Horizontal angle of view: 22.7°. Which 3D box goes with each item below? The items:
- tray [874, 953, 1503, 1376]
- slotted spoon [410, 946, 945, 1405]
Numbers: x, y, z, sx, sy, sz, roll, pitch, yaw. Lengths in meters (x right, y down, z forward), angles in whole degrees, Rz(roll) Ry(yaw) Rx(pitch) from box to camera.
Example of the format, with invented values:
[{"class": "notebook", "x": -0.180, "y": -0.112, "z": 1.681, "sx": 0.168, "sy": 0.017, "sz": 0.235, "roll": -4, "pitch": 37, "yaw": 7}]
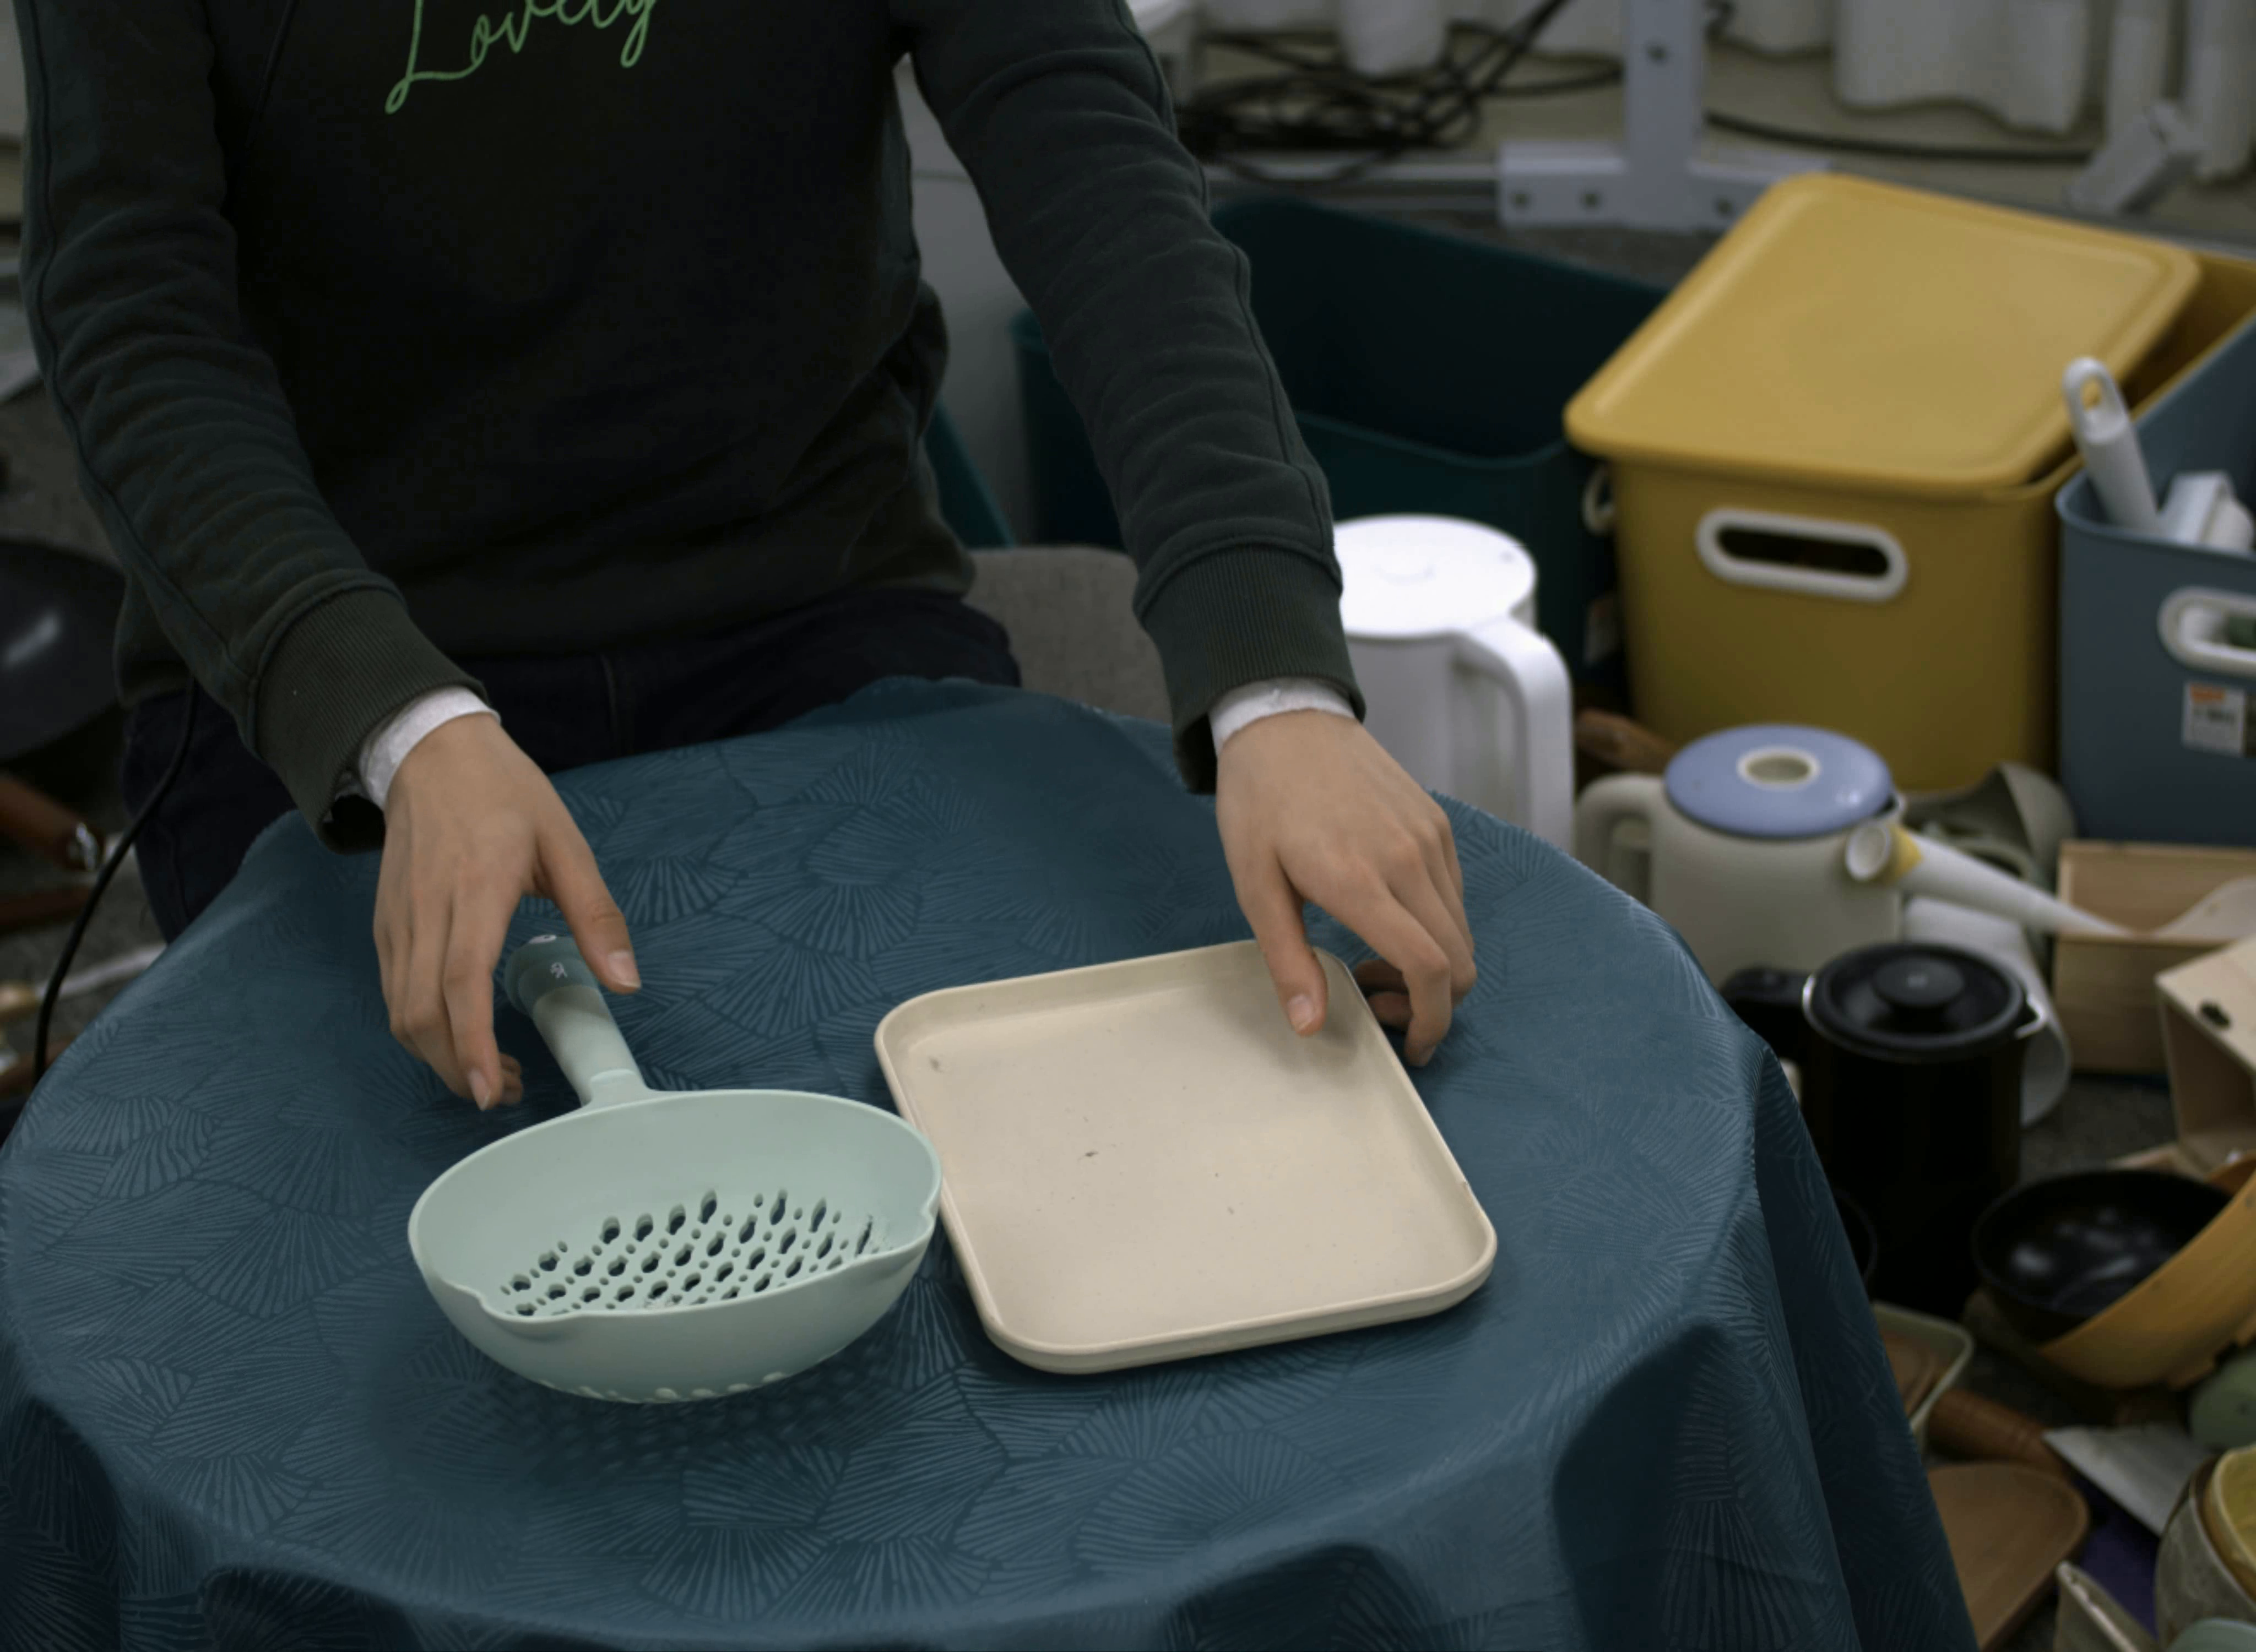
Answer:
[{"class": "tray", "x": 0.016, "y": 0.110, "z": 1.864, "sx": 0.171, "sy": 0.017, "sz": 0.242, "roll": -8, "pitch": 27, "yaw": -11}, {"class": "slotted spoon", "x": -0.165, "y": 0.099, "z": 1.854, "sx": 0.169, "sy": 0.074, "sz": 0.362, "roll": -9, "pitch": 27, "yaw": -13}]
